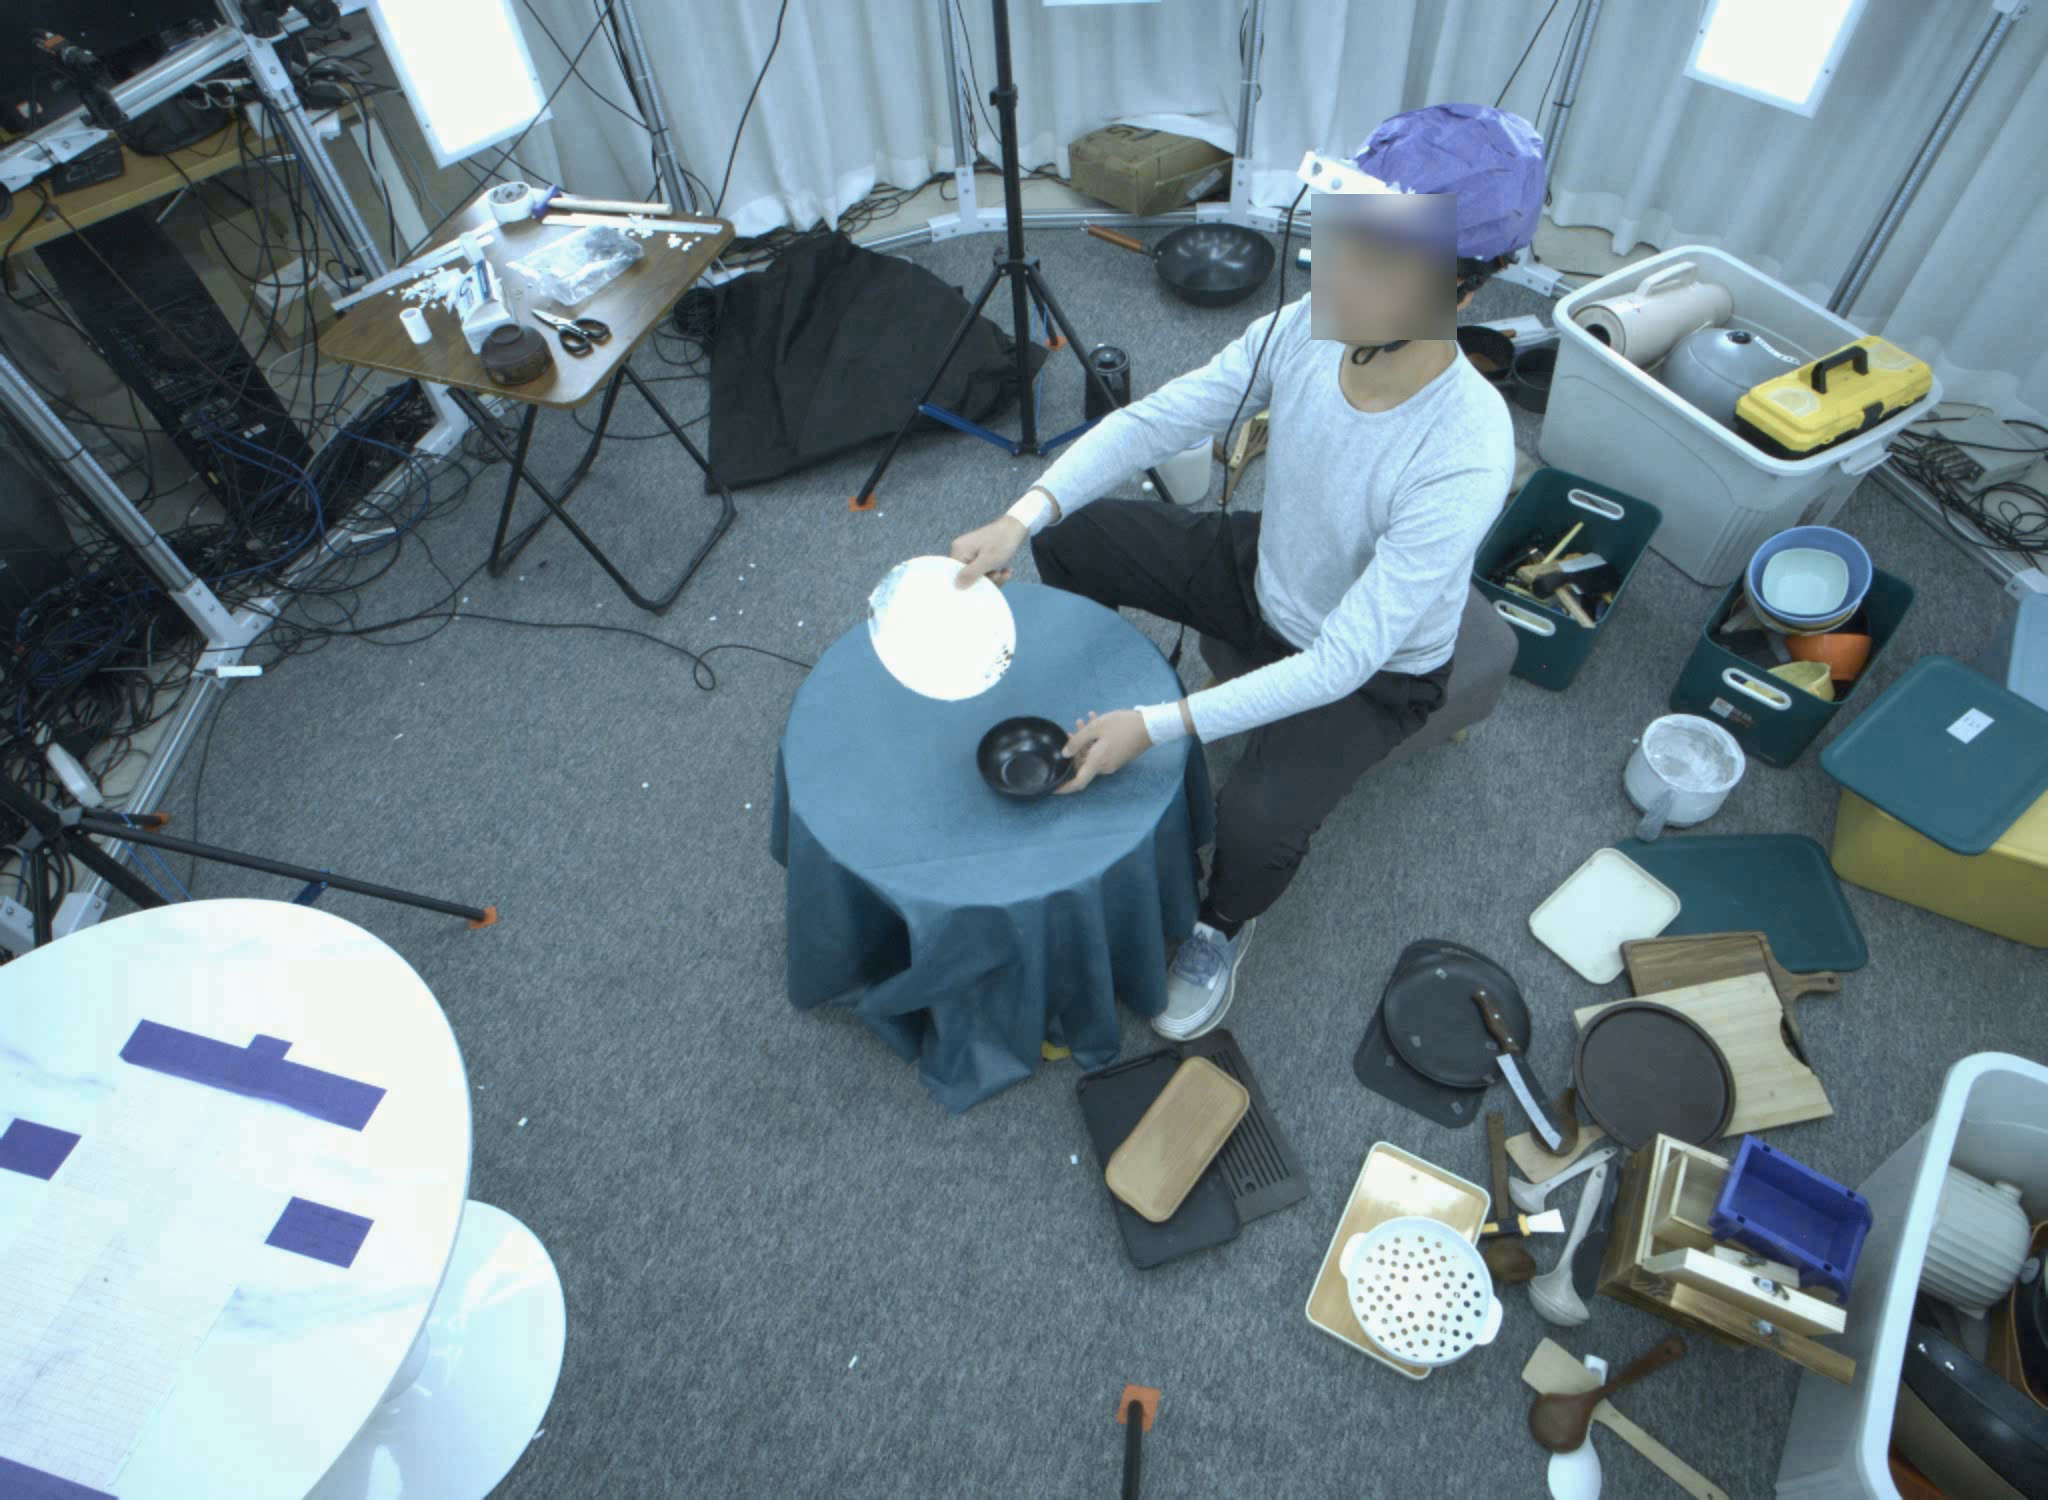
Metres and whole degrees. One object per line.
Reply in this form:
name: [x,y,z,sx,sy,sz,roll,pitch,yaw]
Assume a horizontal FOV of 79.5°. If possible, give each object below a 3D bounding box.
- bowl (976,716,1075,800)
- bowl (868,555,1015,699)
bowl: [0.002,0.020,1.755,0.140,0.050,0.138,3,53,-2]
bowl: [-0.121,-0.155,1.655,0.207,0.077,0.203,7,72,-21]
